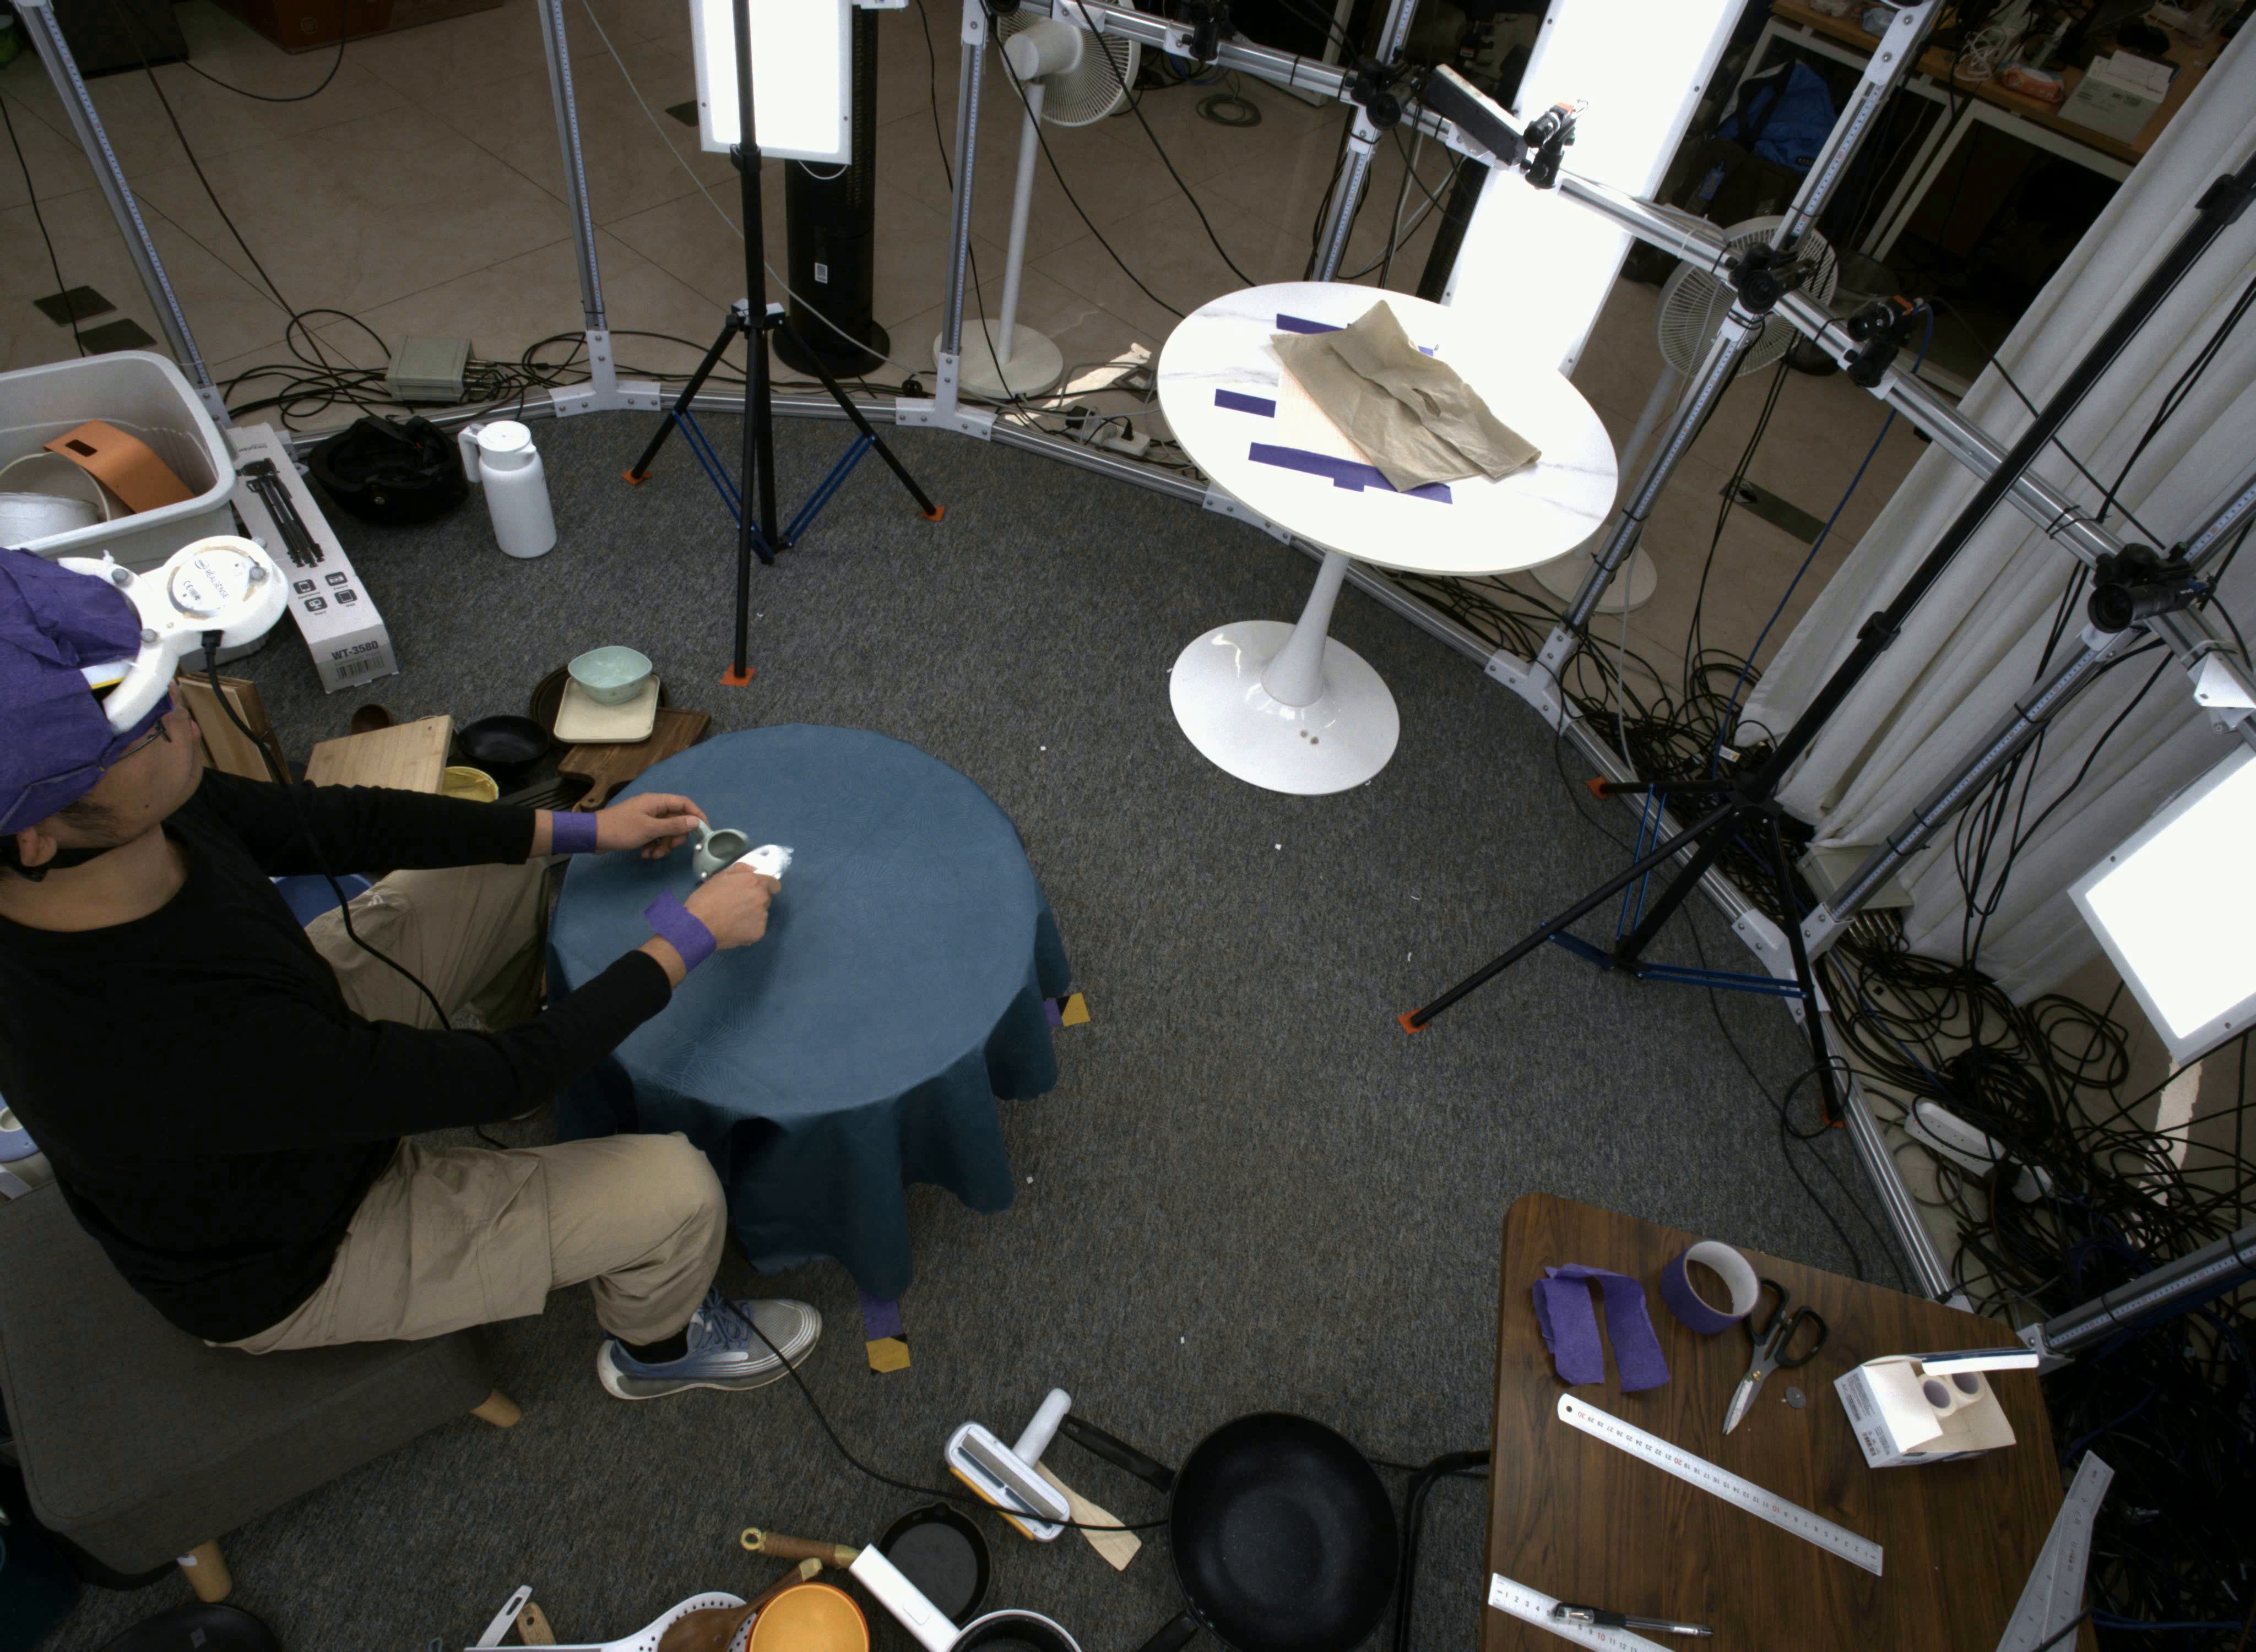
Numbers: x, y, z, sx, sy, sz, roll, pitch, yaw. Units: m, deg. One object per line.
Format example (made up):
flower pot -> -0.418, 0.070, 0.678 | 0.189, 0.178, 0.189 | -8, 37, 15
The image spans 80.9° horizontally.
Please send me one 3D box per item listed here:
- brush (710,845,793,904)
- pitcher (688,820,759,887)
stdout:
brush -> -0.454, 0.055, 1.586 | 0.099, 0.070, 0.051 | -39, 111, -48
pitcher -> -0.519, 0.033, 1.644 | 0.105, 0.062, 0.086 | 30, 51, 15
